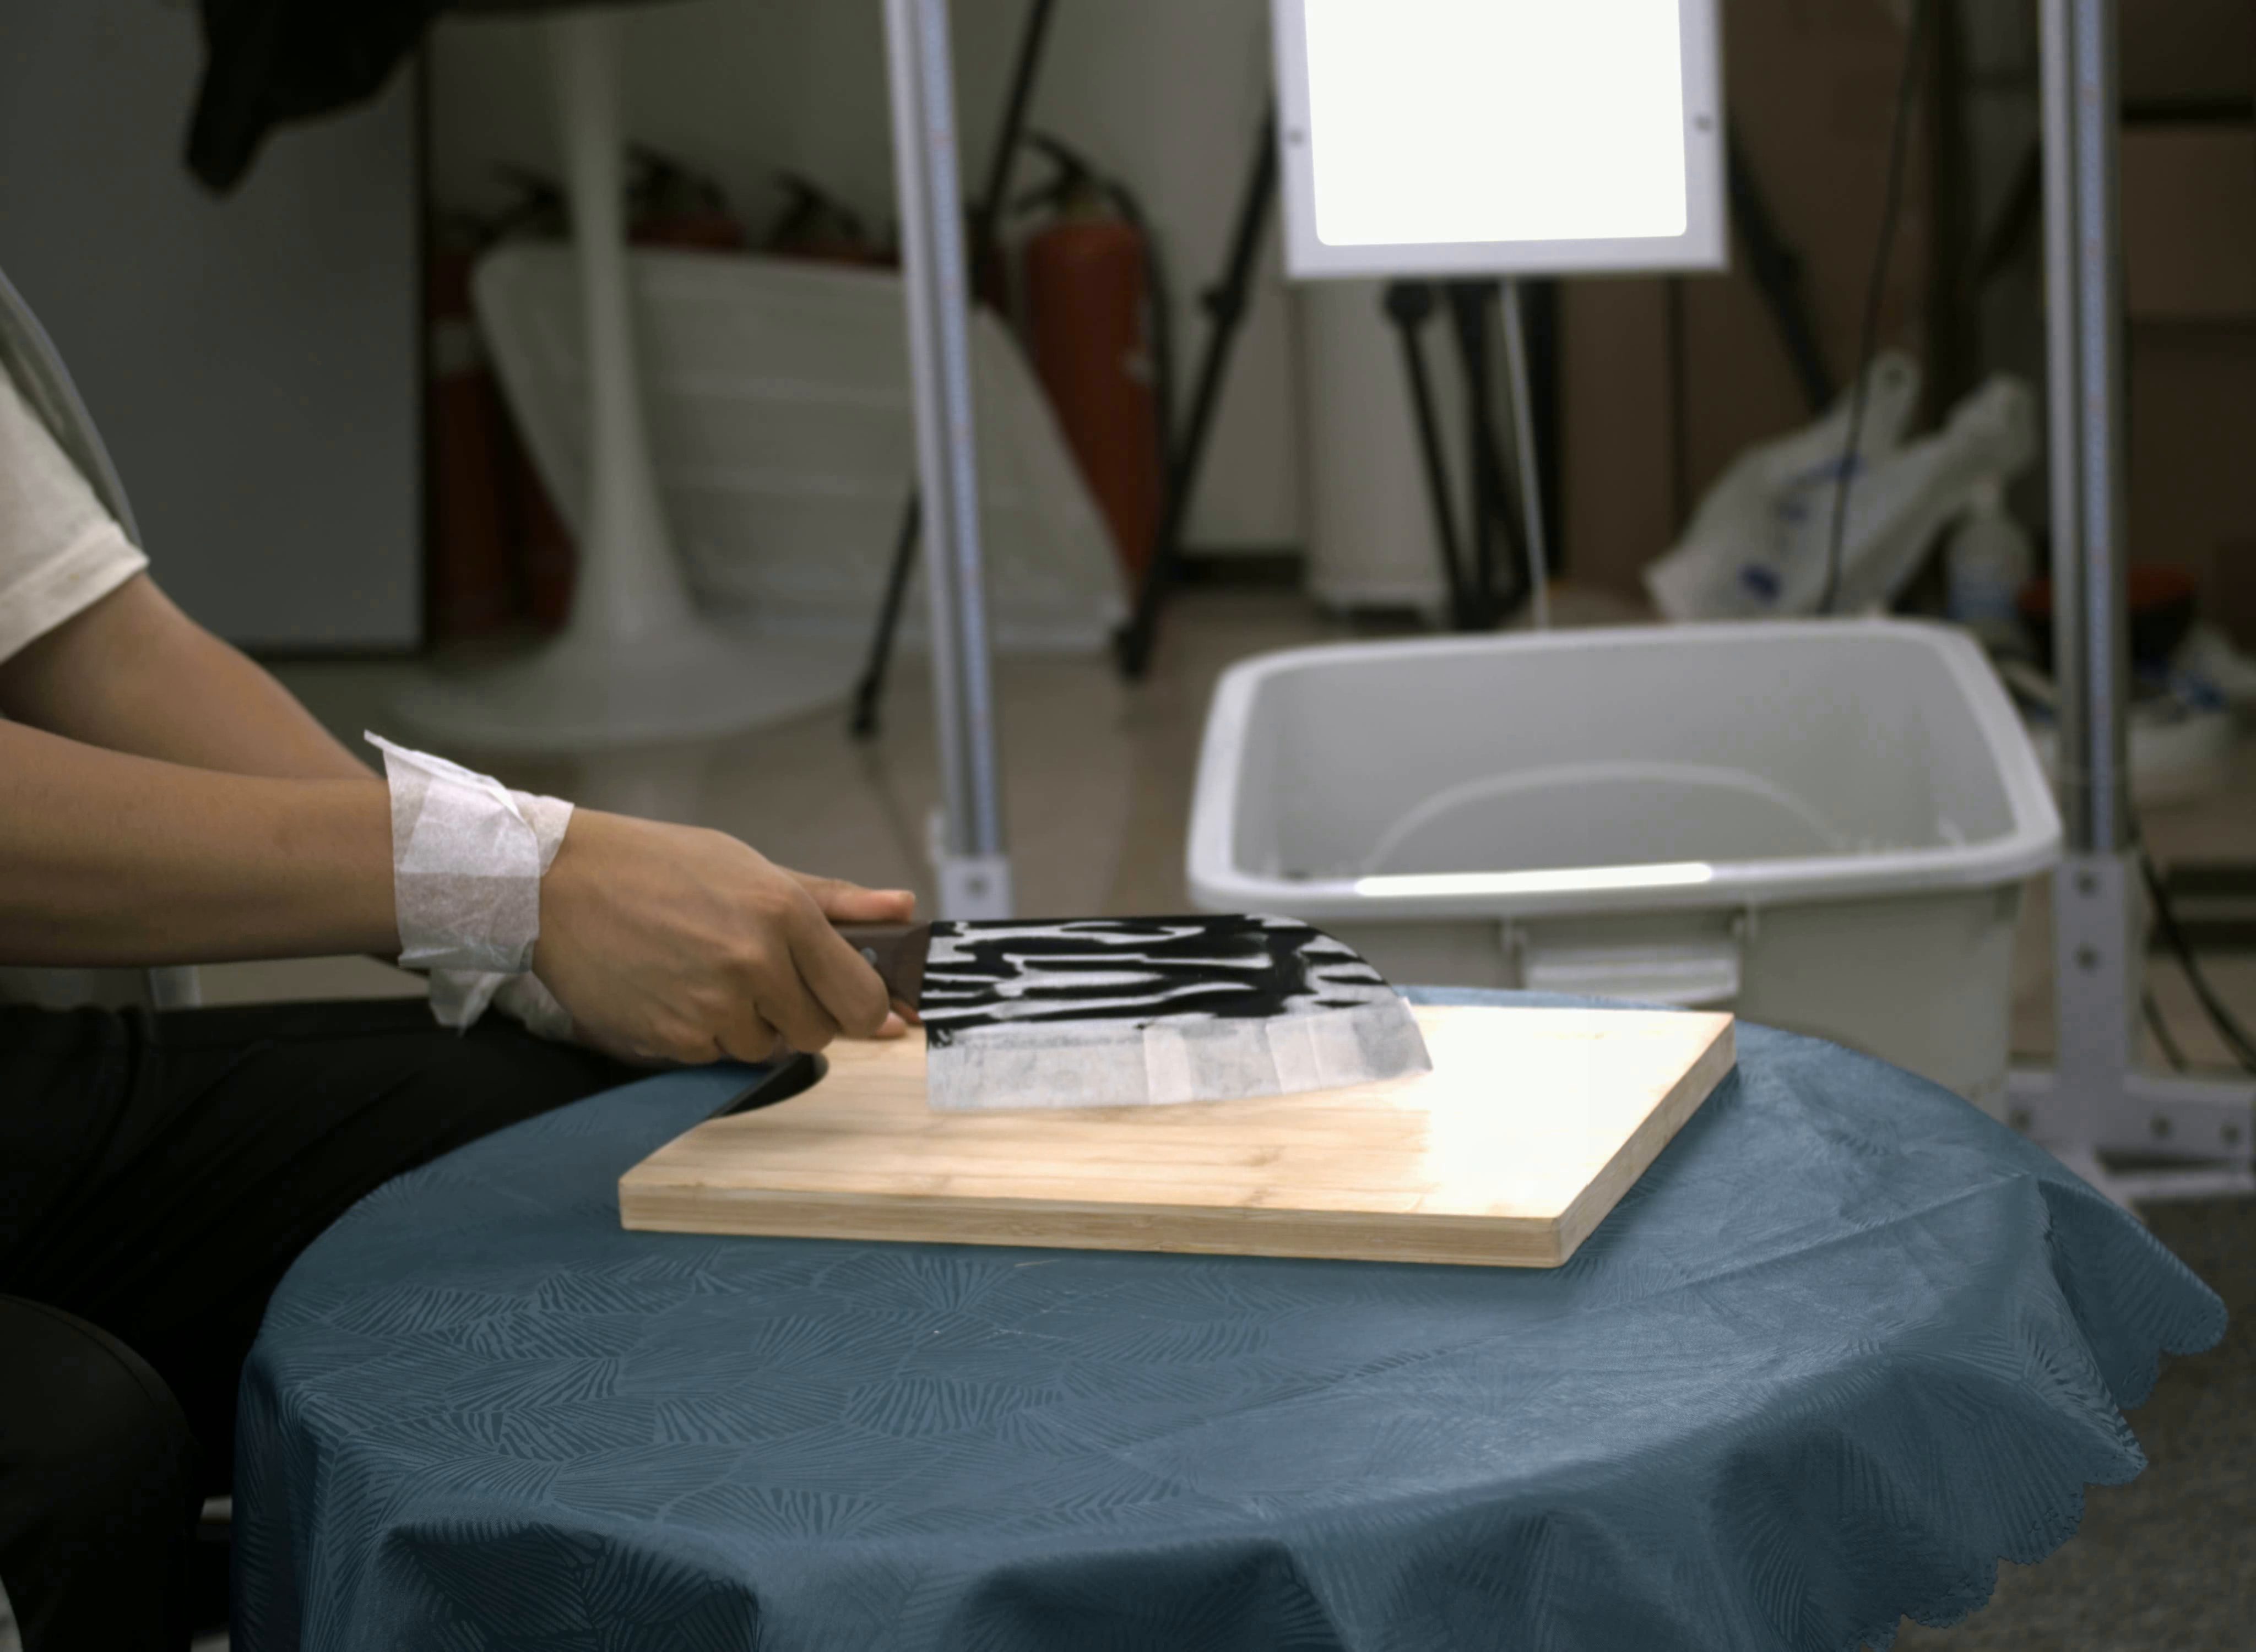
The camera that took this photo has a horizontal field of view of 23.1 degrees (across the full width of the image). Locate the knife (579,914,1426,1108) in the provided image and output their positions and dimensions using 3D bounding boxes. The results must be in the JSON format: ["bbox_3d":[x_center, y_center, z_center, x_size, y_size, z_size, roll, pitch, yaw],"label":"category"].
[{"bbox_3d":[-0.045,0.065,1.934,0.300,0.068,0.024,0,1,6],"label":"knife"}]

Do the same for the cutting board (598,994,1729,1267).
[{"bbox_3d":[0.017,0.104,1.948,0.353,0.023,0.246,0,14,21],"label":"cutting board"}]
